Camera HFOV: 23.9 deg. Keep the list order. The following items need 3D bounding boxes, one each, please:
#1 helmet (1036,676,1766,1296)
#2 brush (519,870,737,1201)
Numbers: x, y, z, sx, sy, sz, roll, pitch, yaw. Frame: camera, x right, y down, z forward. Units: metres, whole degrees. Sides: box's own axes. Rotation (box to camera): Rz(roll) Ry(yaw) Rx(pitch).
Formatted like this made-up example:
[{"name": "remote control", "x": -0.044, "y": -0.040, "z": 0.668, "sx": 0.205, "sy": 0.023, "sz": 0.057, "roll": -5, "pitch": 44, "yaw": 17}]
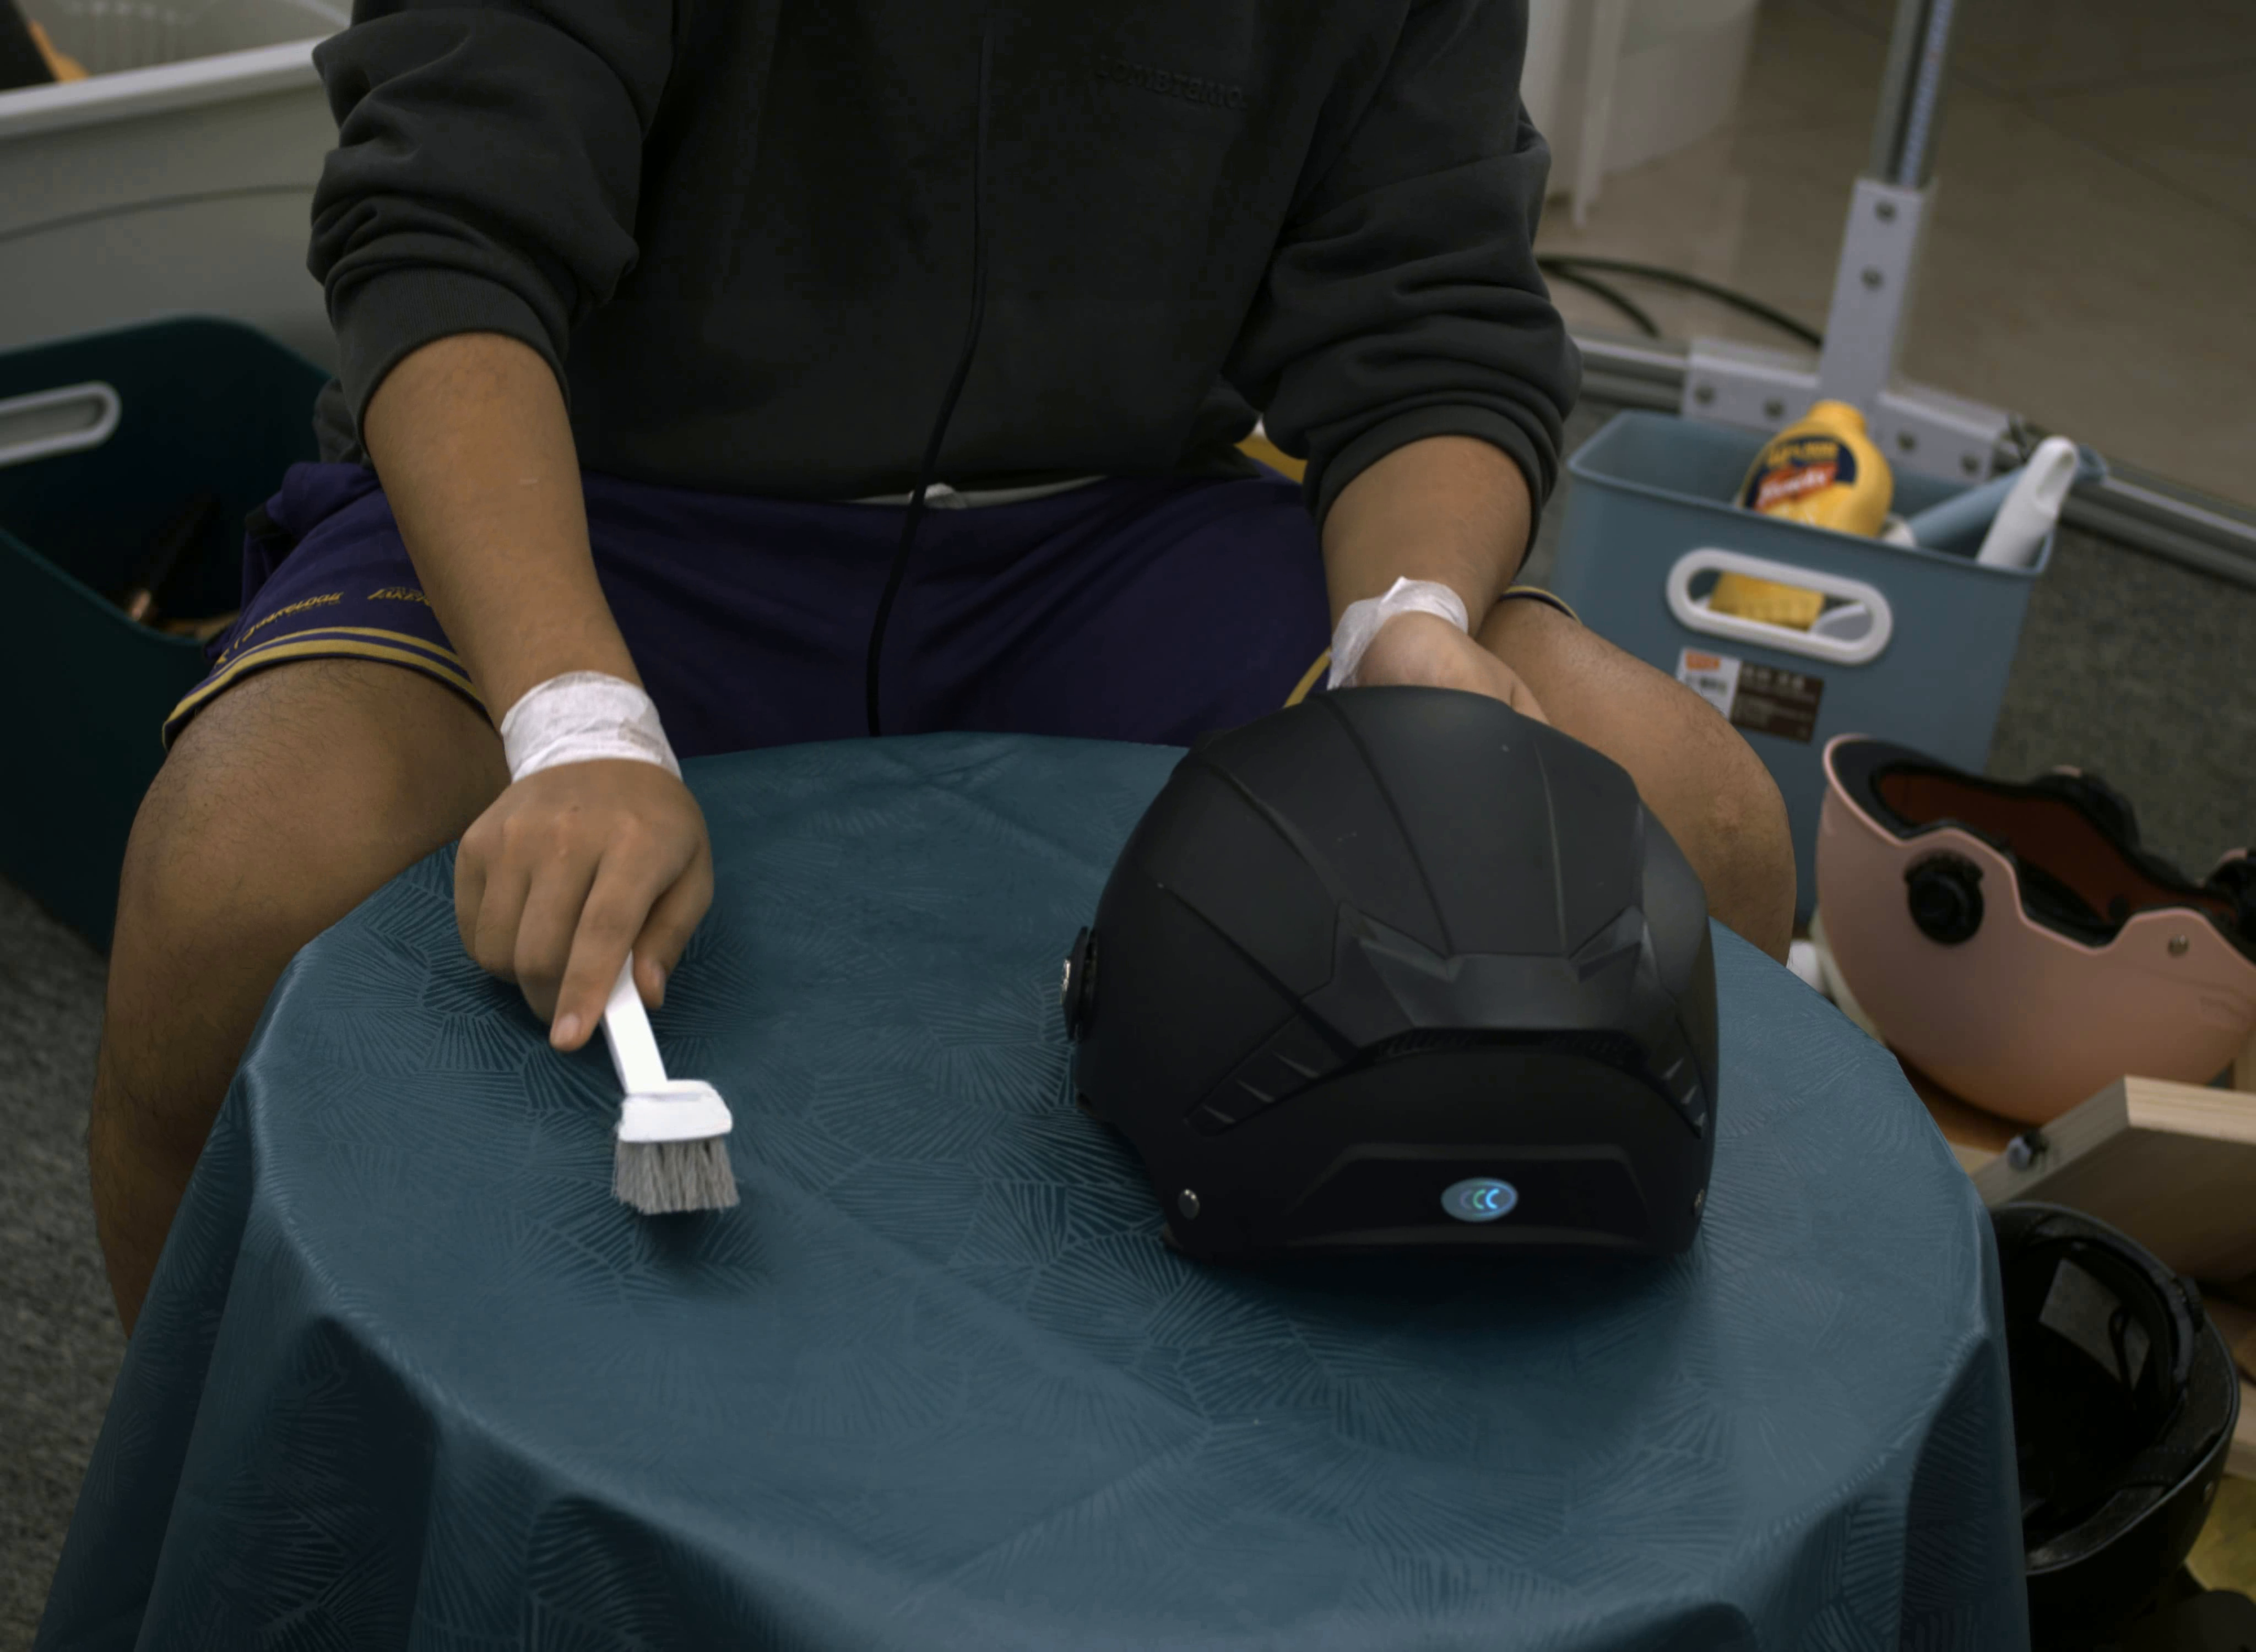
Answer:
[{"name": "helmet", "x": 0.100, "y": 0.038, "z": 1.818, "sx": 0.245, "sy": 0.172, "sz": 0.279, "roll": 2, "pitch": 30, "yaw": -10}, {"name": "brush", "x": -0.174, "y": 0.074, "z": 1.818, "sx": 0.034, "sy": 0.050, "sz": 0.245, "roll": -7, "pitch": 20, "yaw": -16}]
